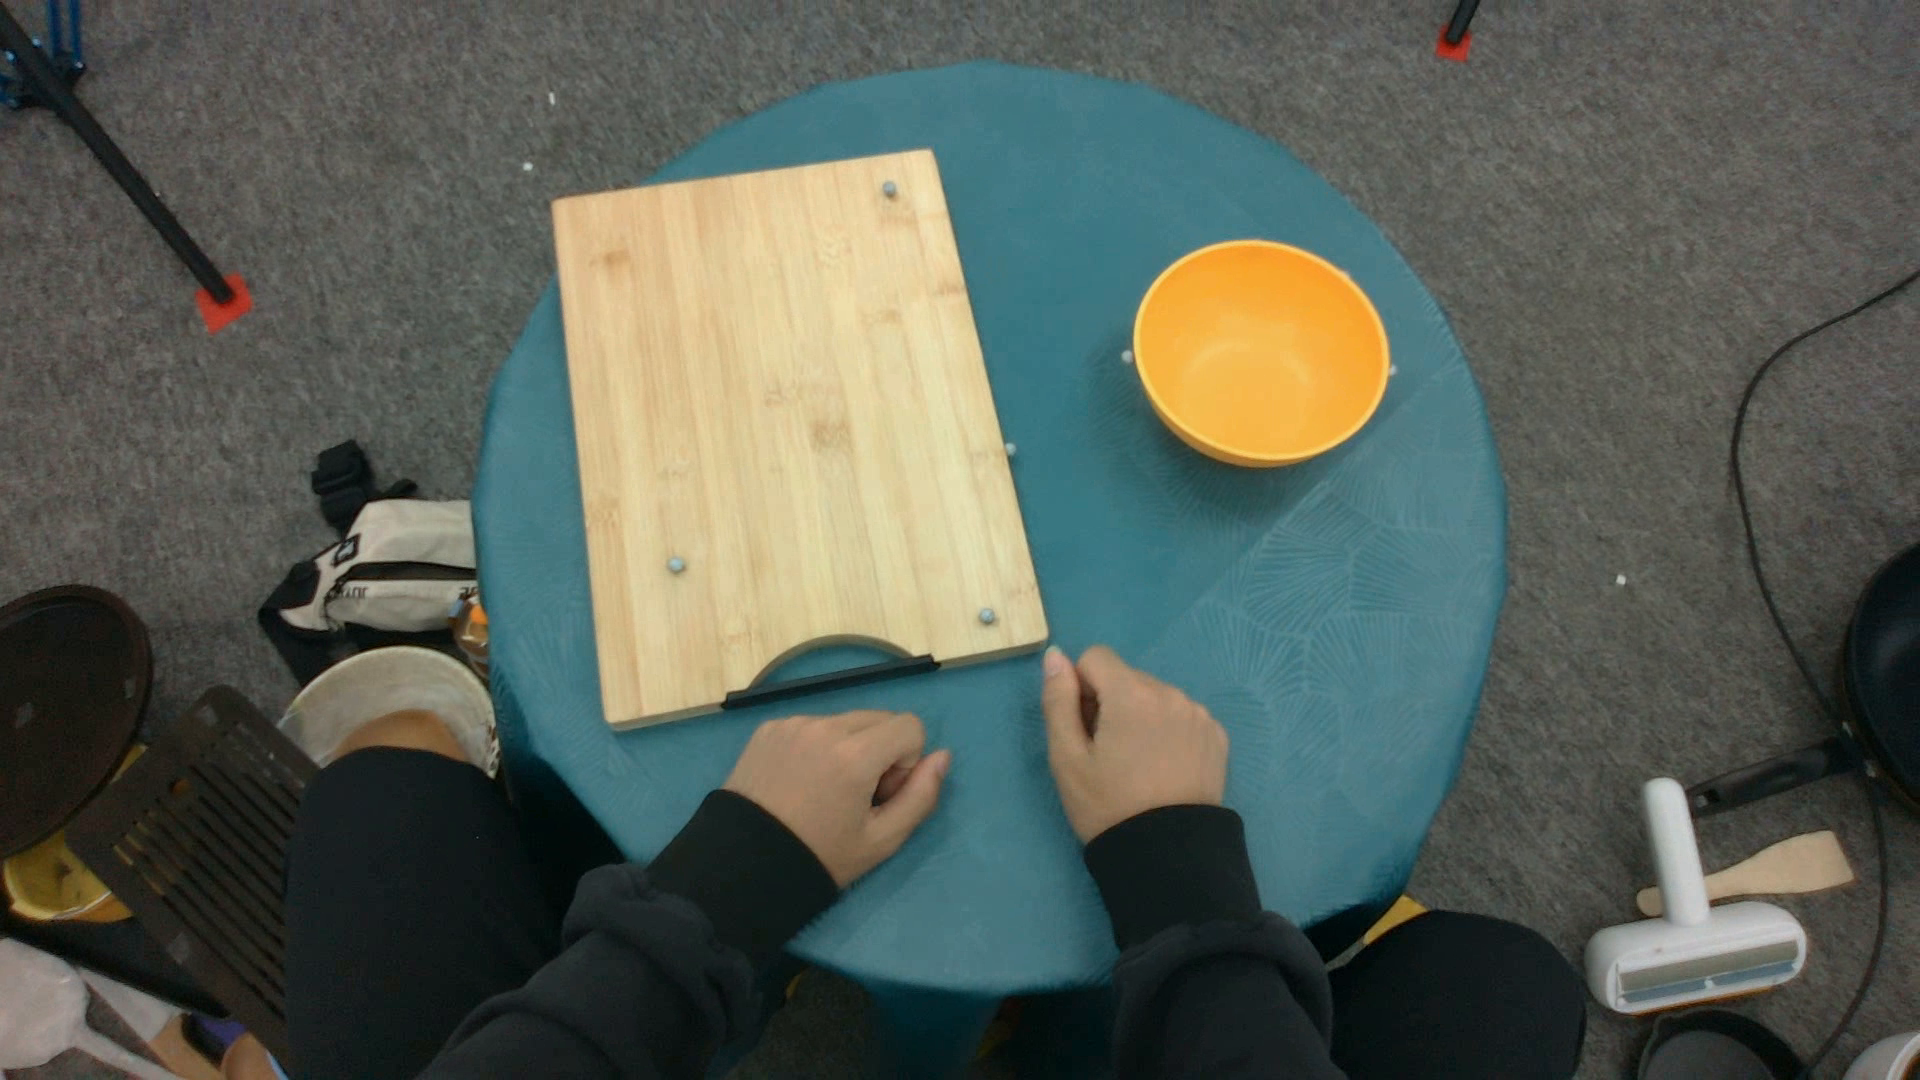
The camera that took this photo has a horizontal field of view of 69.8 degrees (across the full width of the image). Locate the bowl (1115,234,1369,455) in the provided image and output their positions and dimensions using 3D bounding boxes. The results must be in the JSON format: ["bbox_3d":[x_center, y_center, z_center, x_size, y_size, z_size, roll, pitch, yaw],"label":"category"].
[{"bbox_3d":[0.161,-0.105,0.811,0.145,0.060,0.146,0,66,0],"label":"bowl"}]

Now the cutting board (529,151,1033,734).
[{"bbox_3d":[-0.114,-0.075,0.804,0.251,0.023,0.349,-11,66,-8],"label":"cutting board"}]
